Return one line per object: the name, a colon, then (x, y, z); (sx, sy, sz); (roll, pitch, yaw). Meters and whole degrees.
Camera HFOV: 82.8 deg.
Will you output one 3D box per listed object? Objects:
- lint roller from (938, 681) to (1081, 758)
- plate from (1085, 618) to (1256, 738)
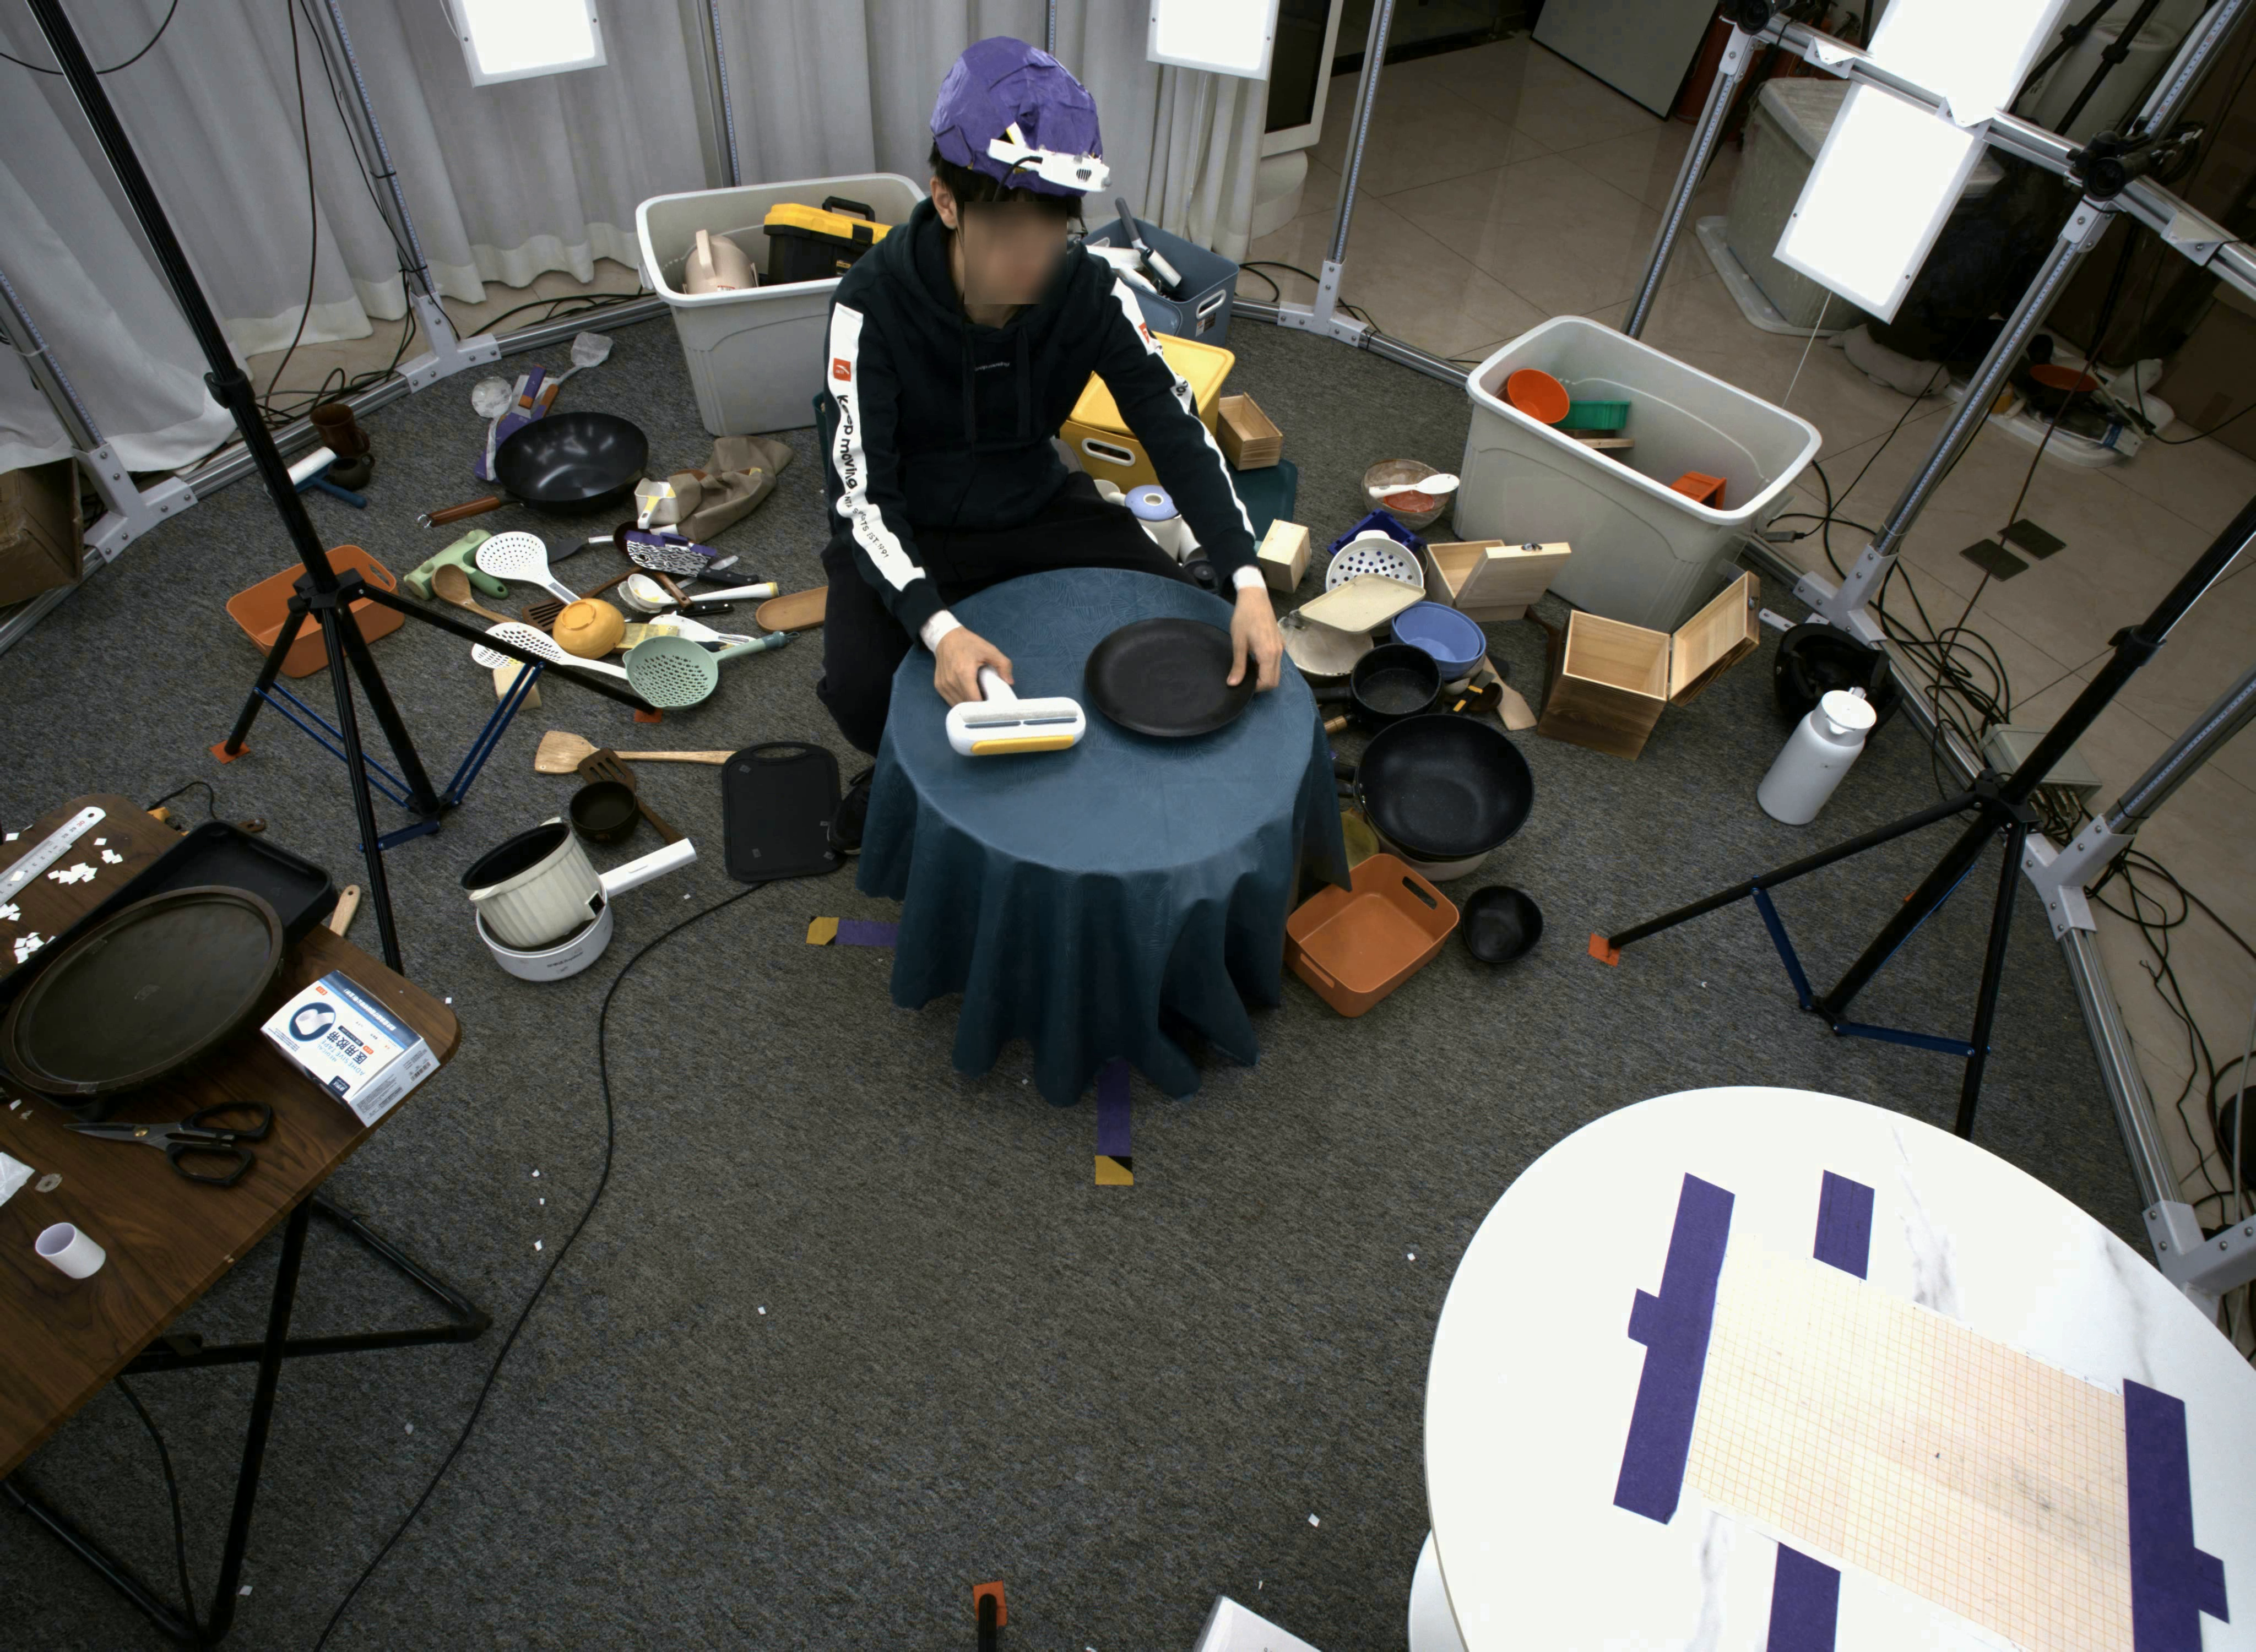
lint roller: (-0.175, -0.159, 1.768); (0.192, 0.072, 0.197); (-2, 38, -18)
plate: (0.060, -0.208, 1.832); (0.244, 0.023, 0.250); (0, 49, 0)
